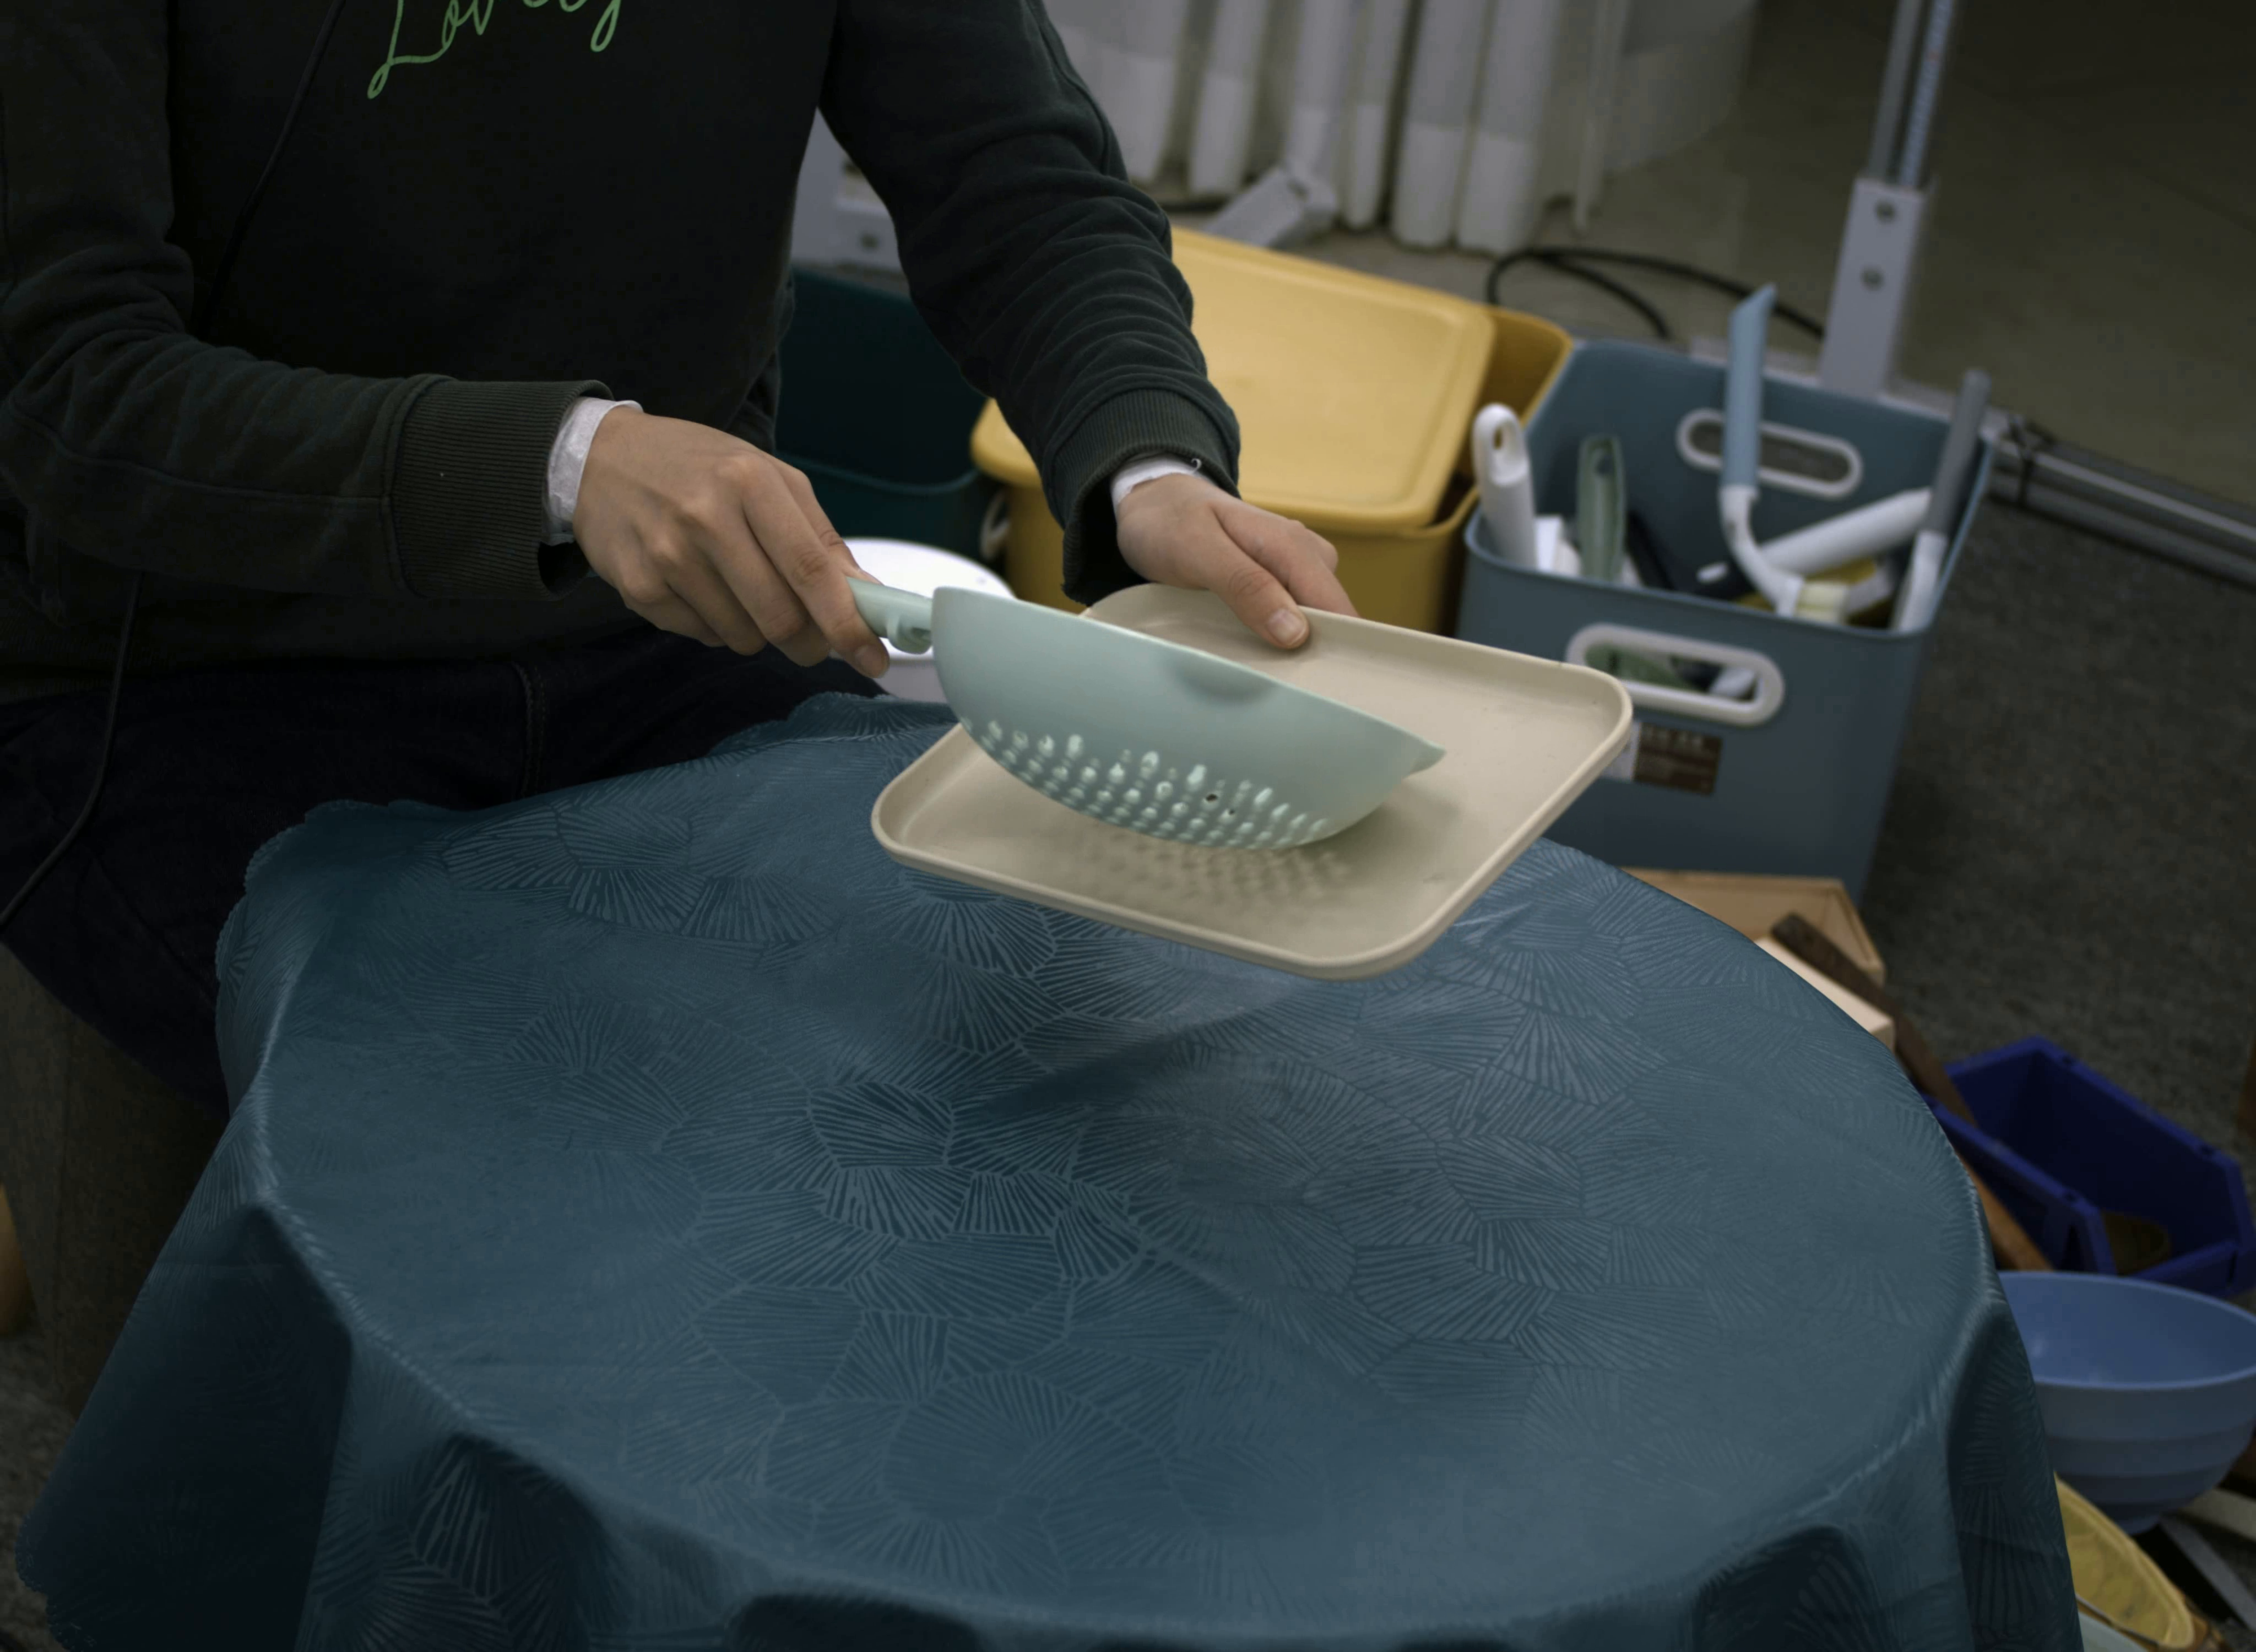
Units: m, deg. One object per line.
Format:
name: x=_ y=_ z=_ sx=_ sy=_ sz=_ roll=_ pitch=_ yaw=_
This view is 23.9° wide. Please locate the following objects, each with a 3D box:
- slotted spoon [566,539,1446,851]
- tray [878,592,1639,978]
slotted spoon: x=-0.061 y=-0.060 z=1.811 sx=0.361 sy=0.075 sz=0.168 roll=25 pitch=2 yaw=39
tray: x=0.044 y=-0.015 z=1.806 sx=0.241 sy=0.017 sz=0.171 roll=13 pitch=43 yaw=40
